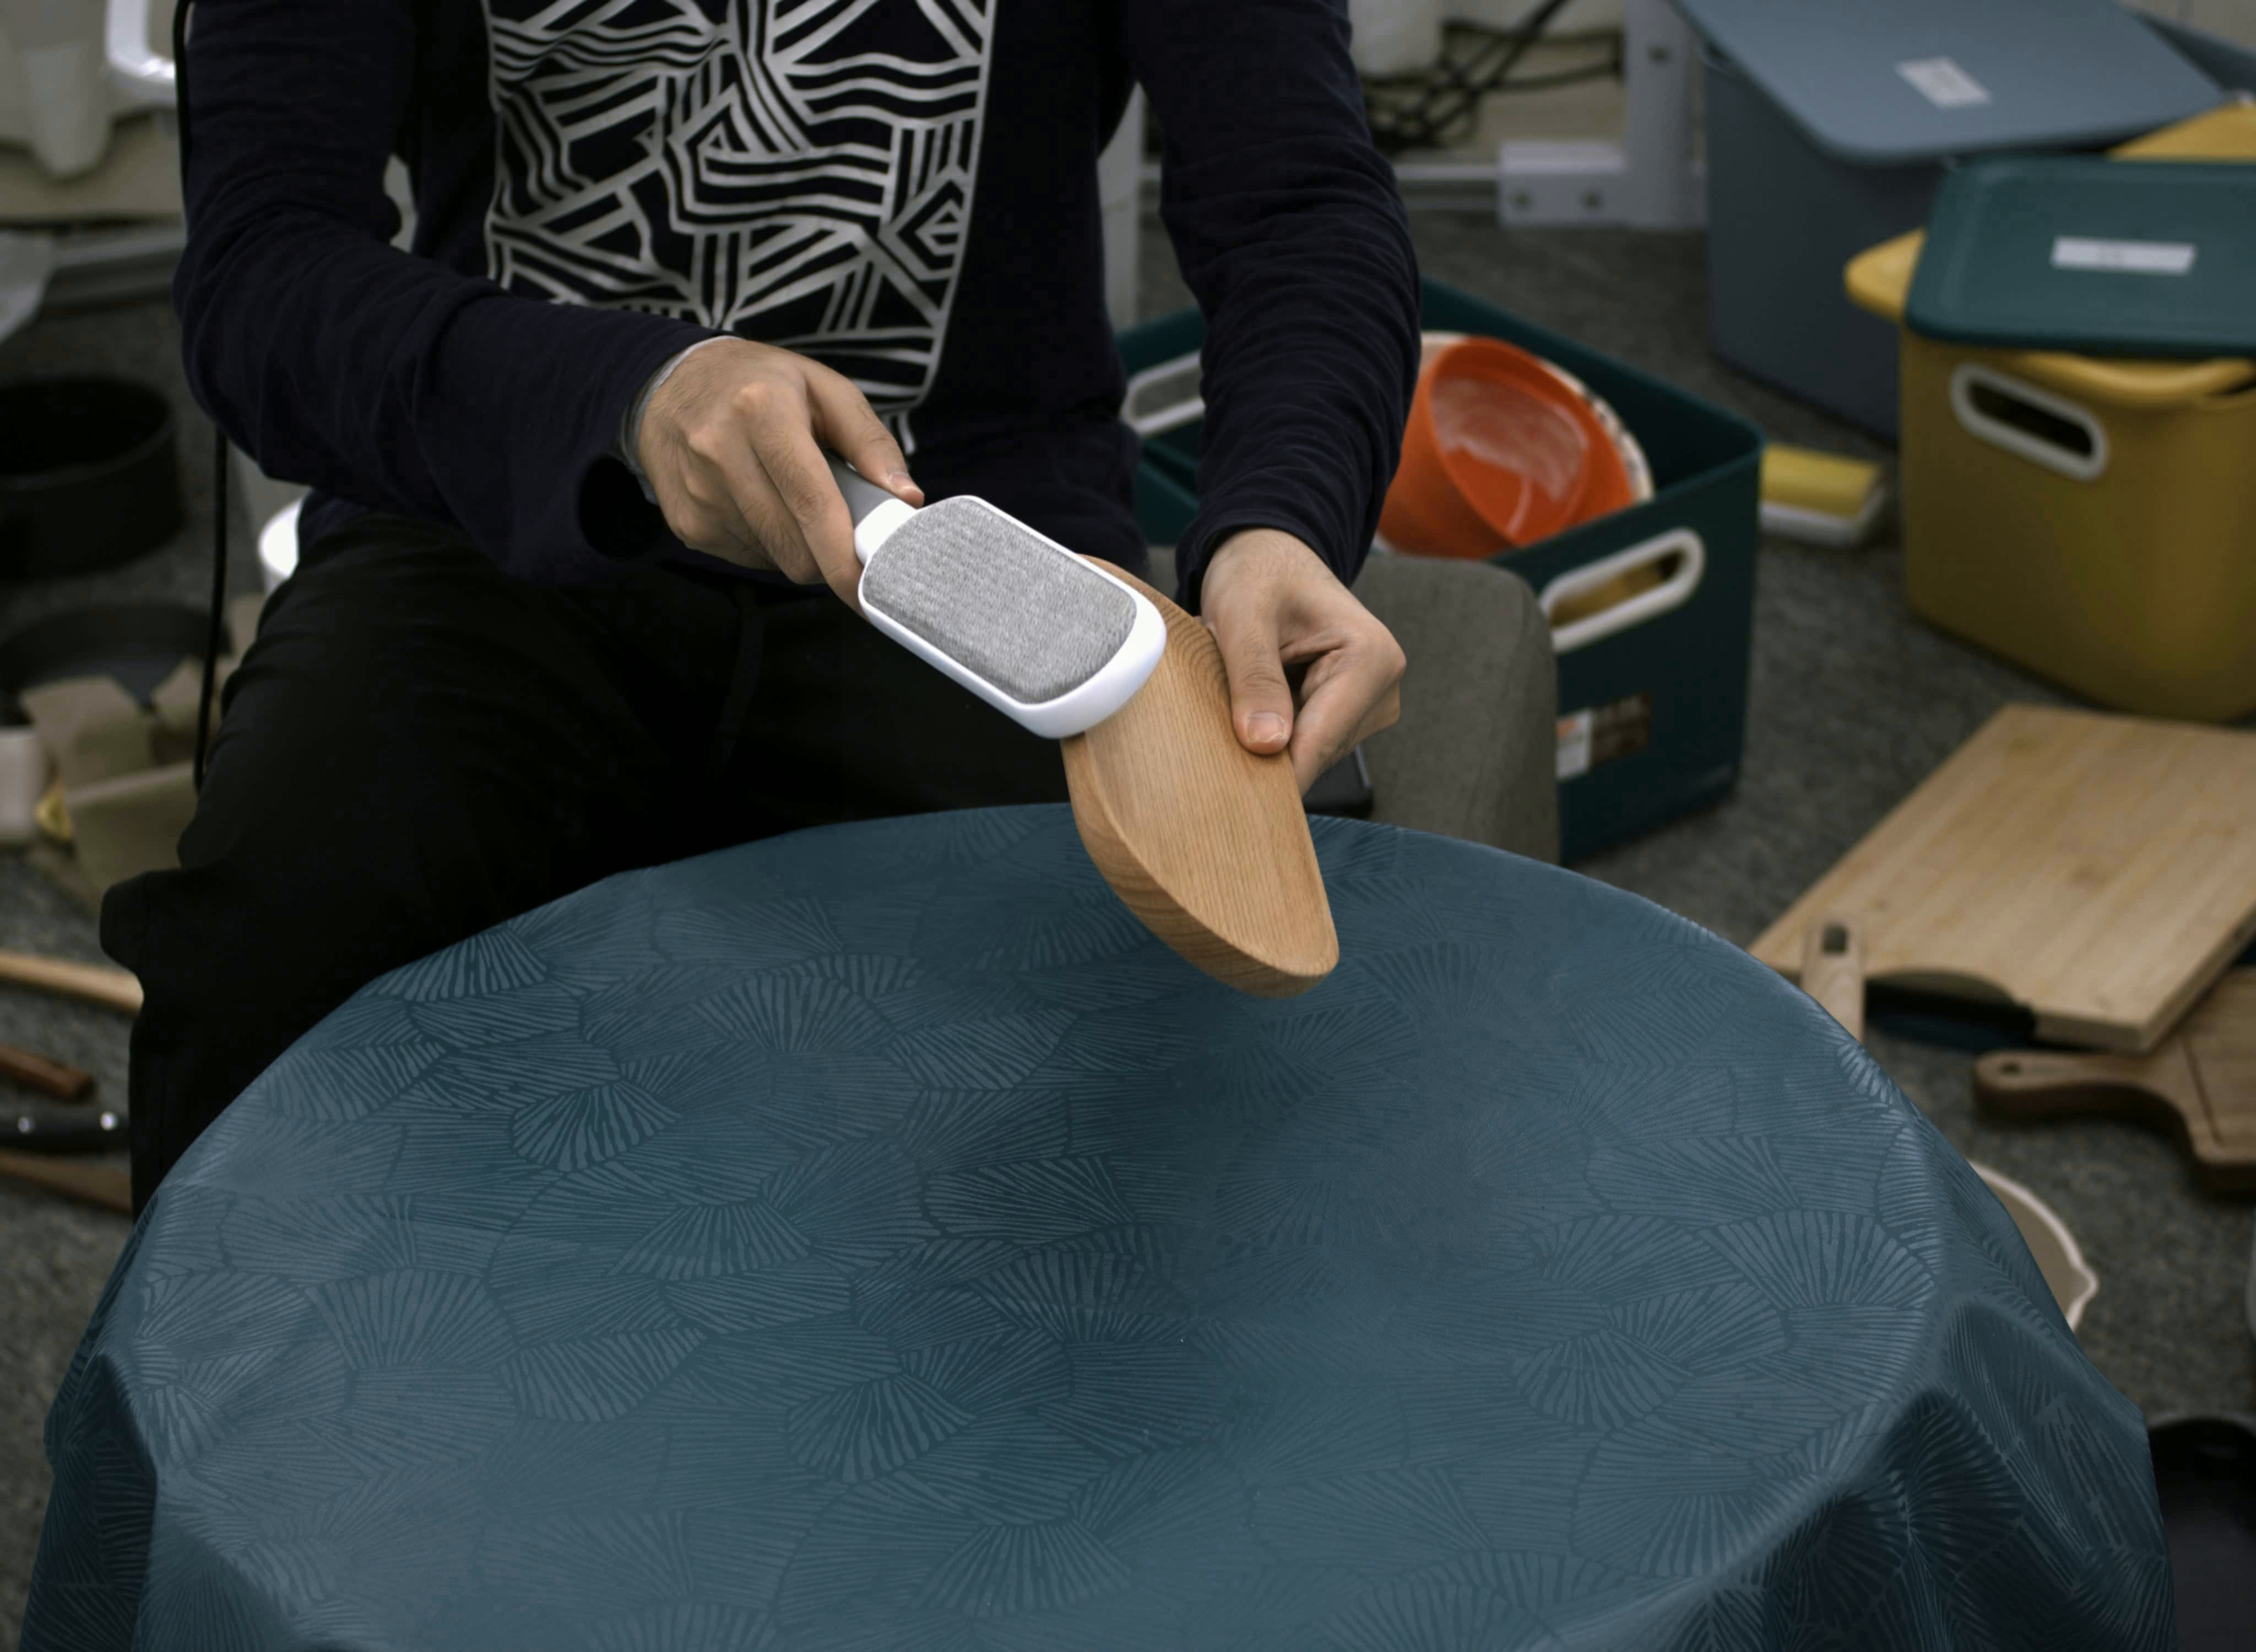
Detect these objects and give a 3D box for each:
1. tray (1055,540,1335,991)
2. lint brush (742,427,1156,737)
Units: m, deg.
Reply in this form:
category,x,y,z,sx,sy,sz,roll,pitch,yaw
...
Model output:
category,x,y,z,sx,sy,sz,roll,pitch,yaw
tray,0.014,-0.021,1.832,0.101,0.020,0.234,35,20,-25
lint brush,-0.067,-0.090,1.896,0.060,0.021,0.310,-47,30,-5
